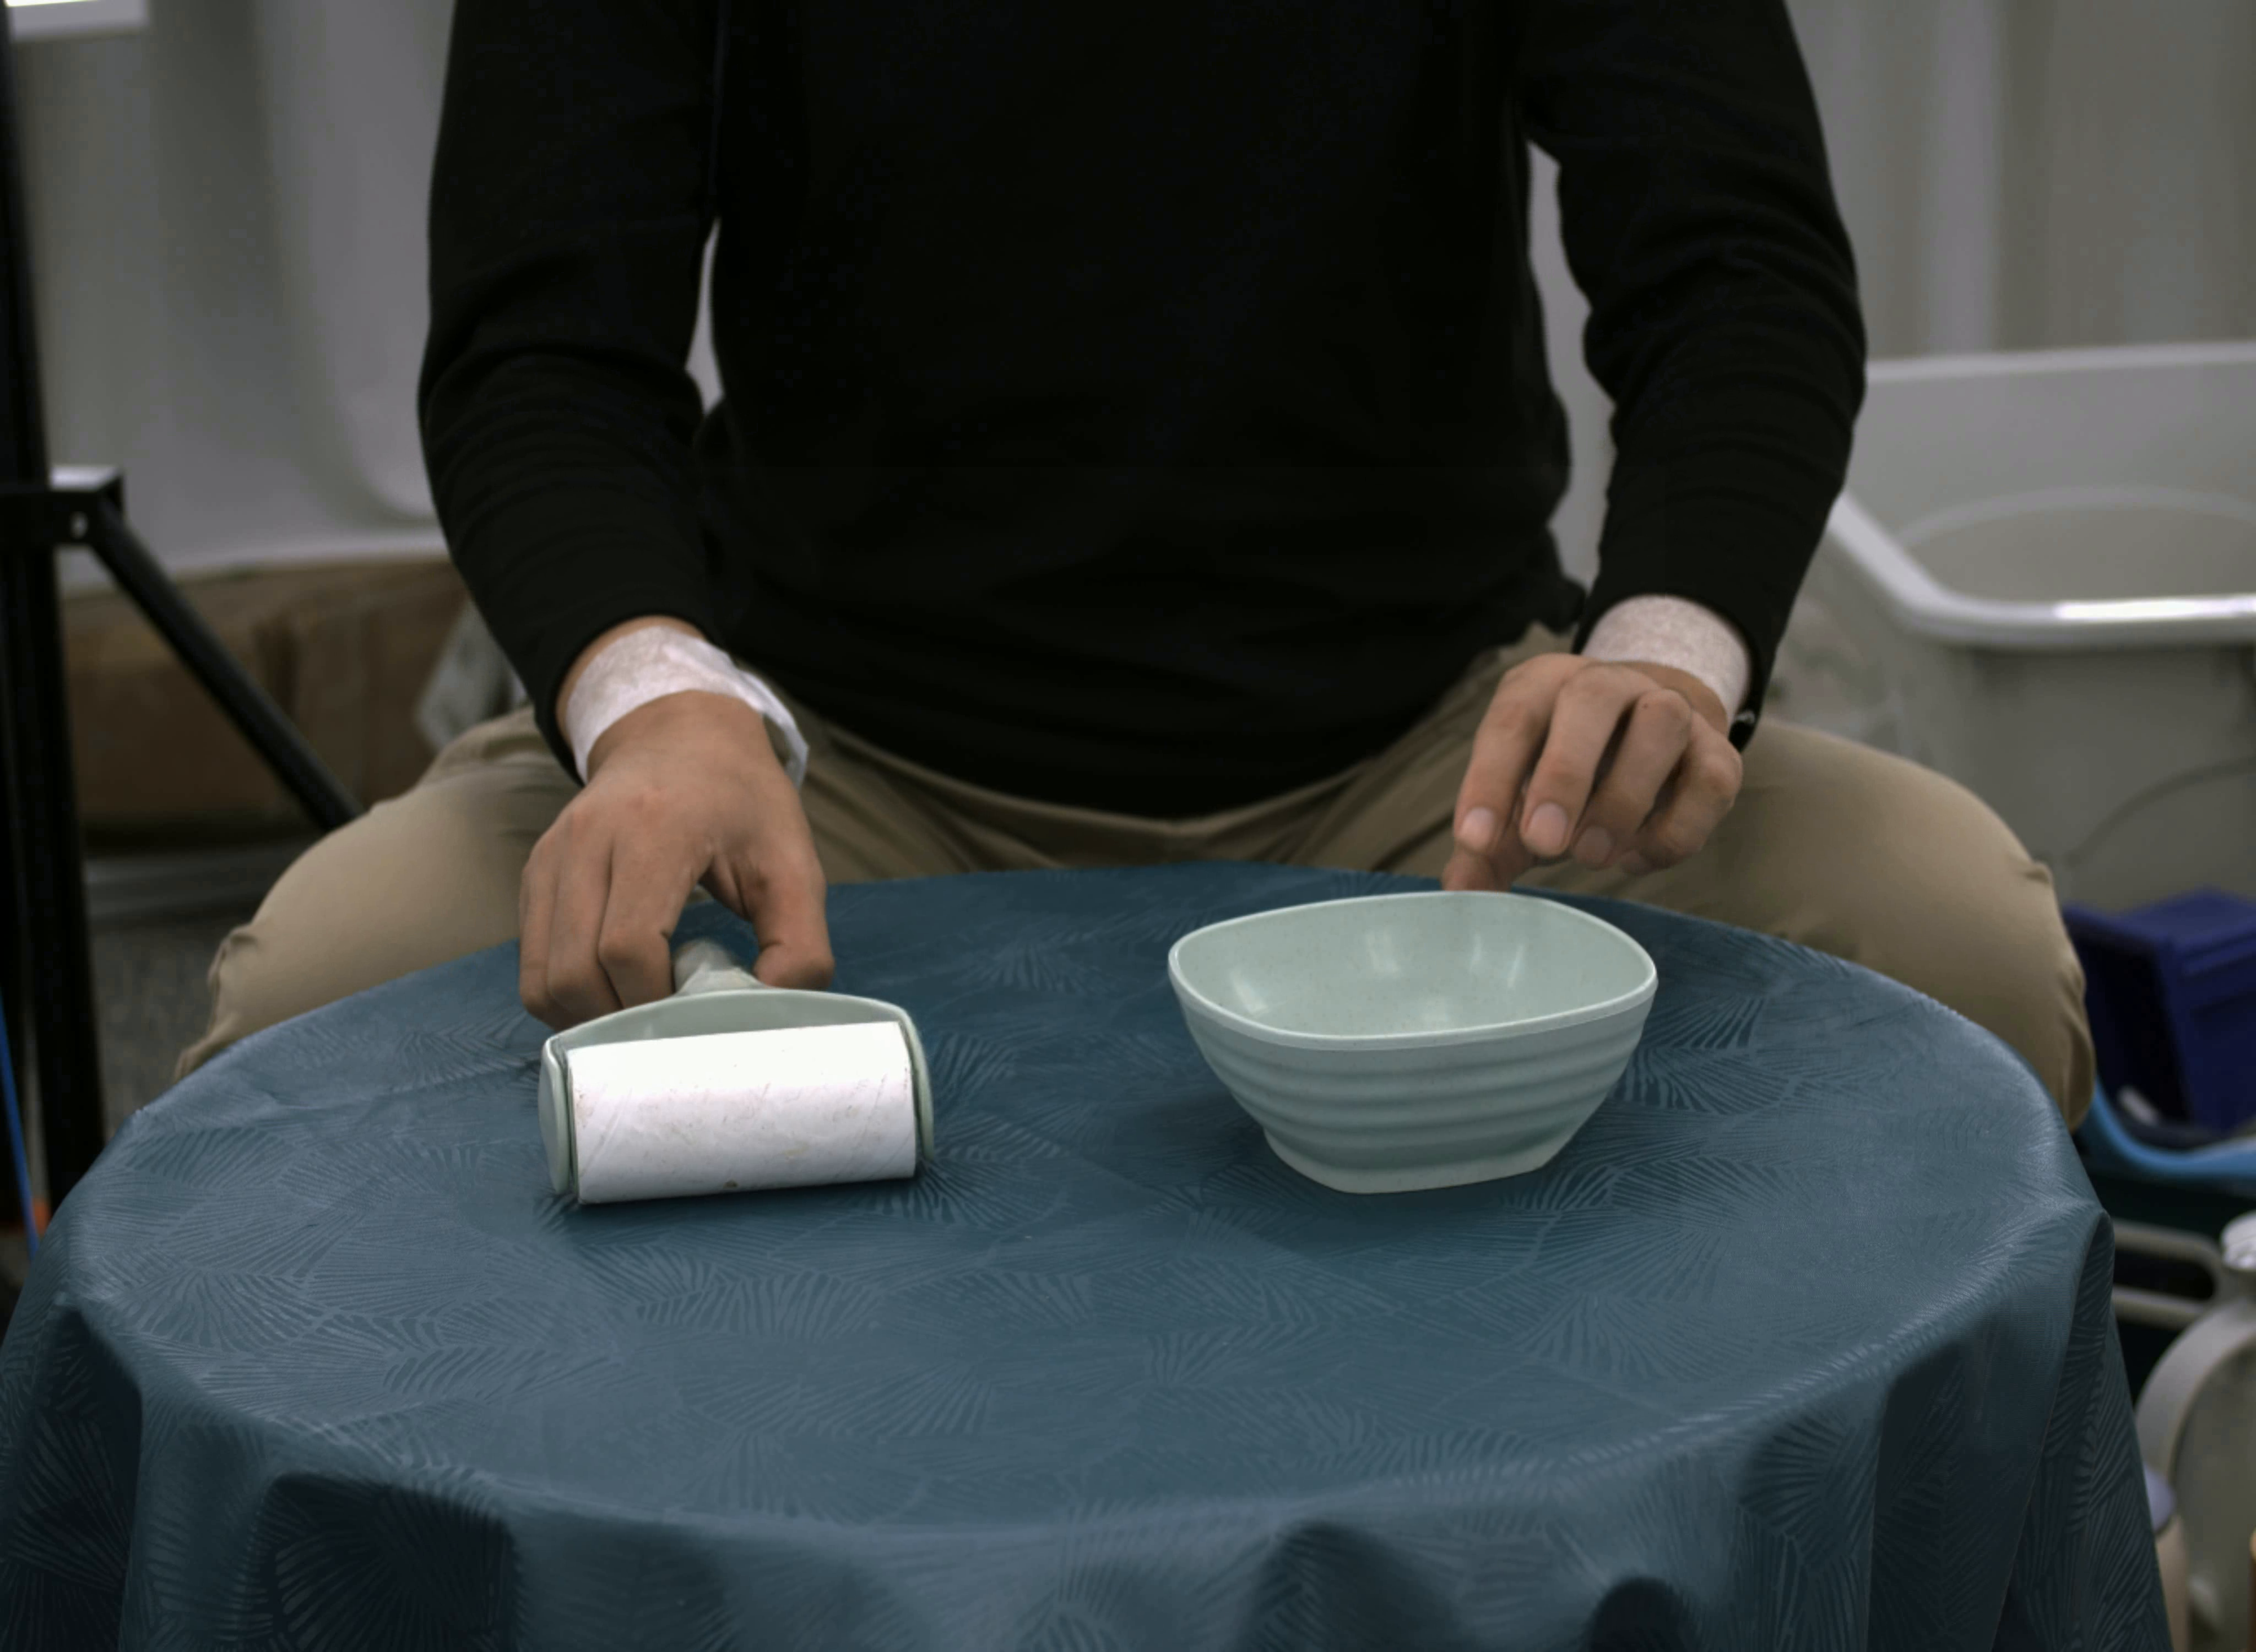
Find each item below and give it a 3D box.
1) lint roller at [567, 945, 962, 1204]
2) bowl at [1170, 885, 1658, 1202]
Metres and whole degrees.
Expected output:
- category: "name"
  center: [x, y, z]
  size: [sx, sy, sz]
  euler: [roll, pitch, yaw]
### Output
- category: "lint roller"
  center: [-0.118, 0.064, 1.644]
  size: [0.115, 0.048, 0.199]
  euler: [-6, 17, -7]
- category: "bowl"
  center: [0.085, 0.068, 1.581]
  size: [0.151, 0.058, 0.152]
  euler: [-3, 17, 0]
